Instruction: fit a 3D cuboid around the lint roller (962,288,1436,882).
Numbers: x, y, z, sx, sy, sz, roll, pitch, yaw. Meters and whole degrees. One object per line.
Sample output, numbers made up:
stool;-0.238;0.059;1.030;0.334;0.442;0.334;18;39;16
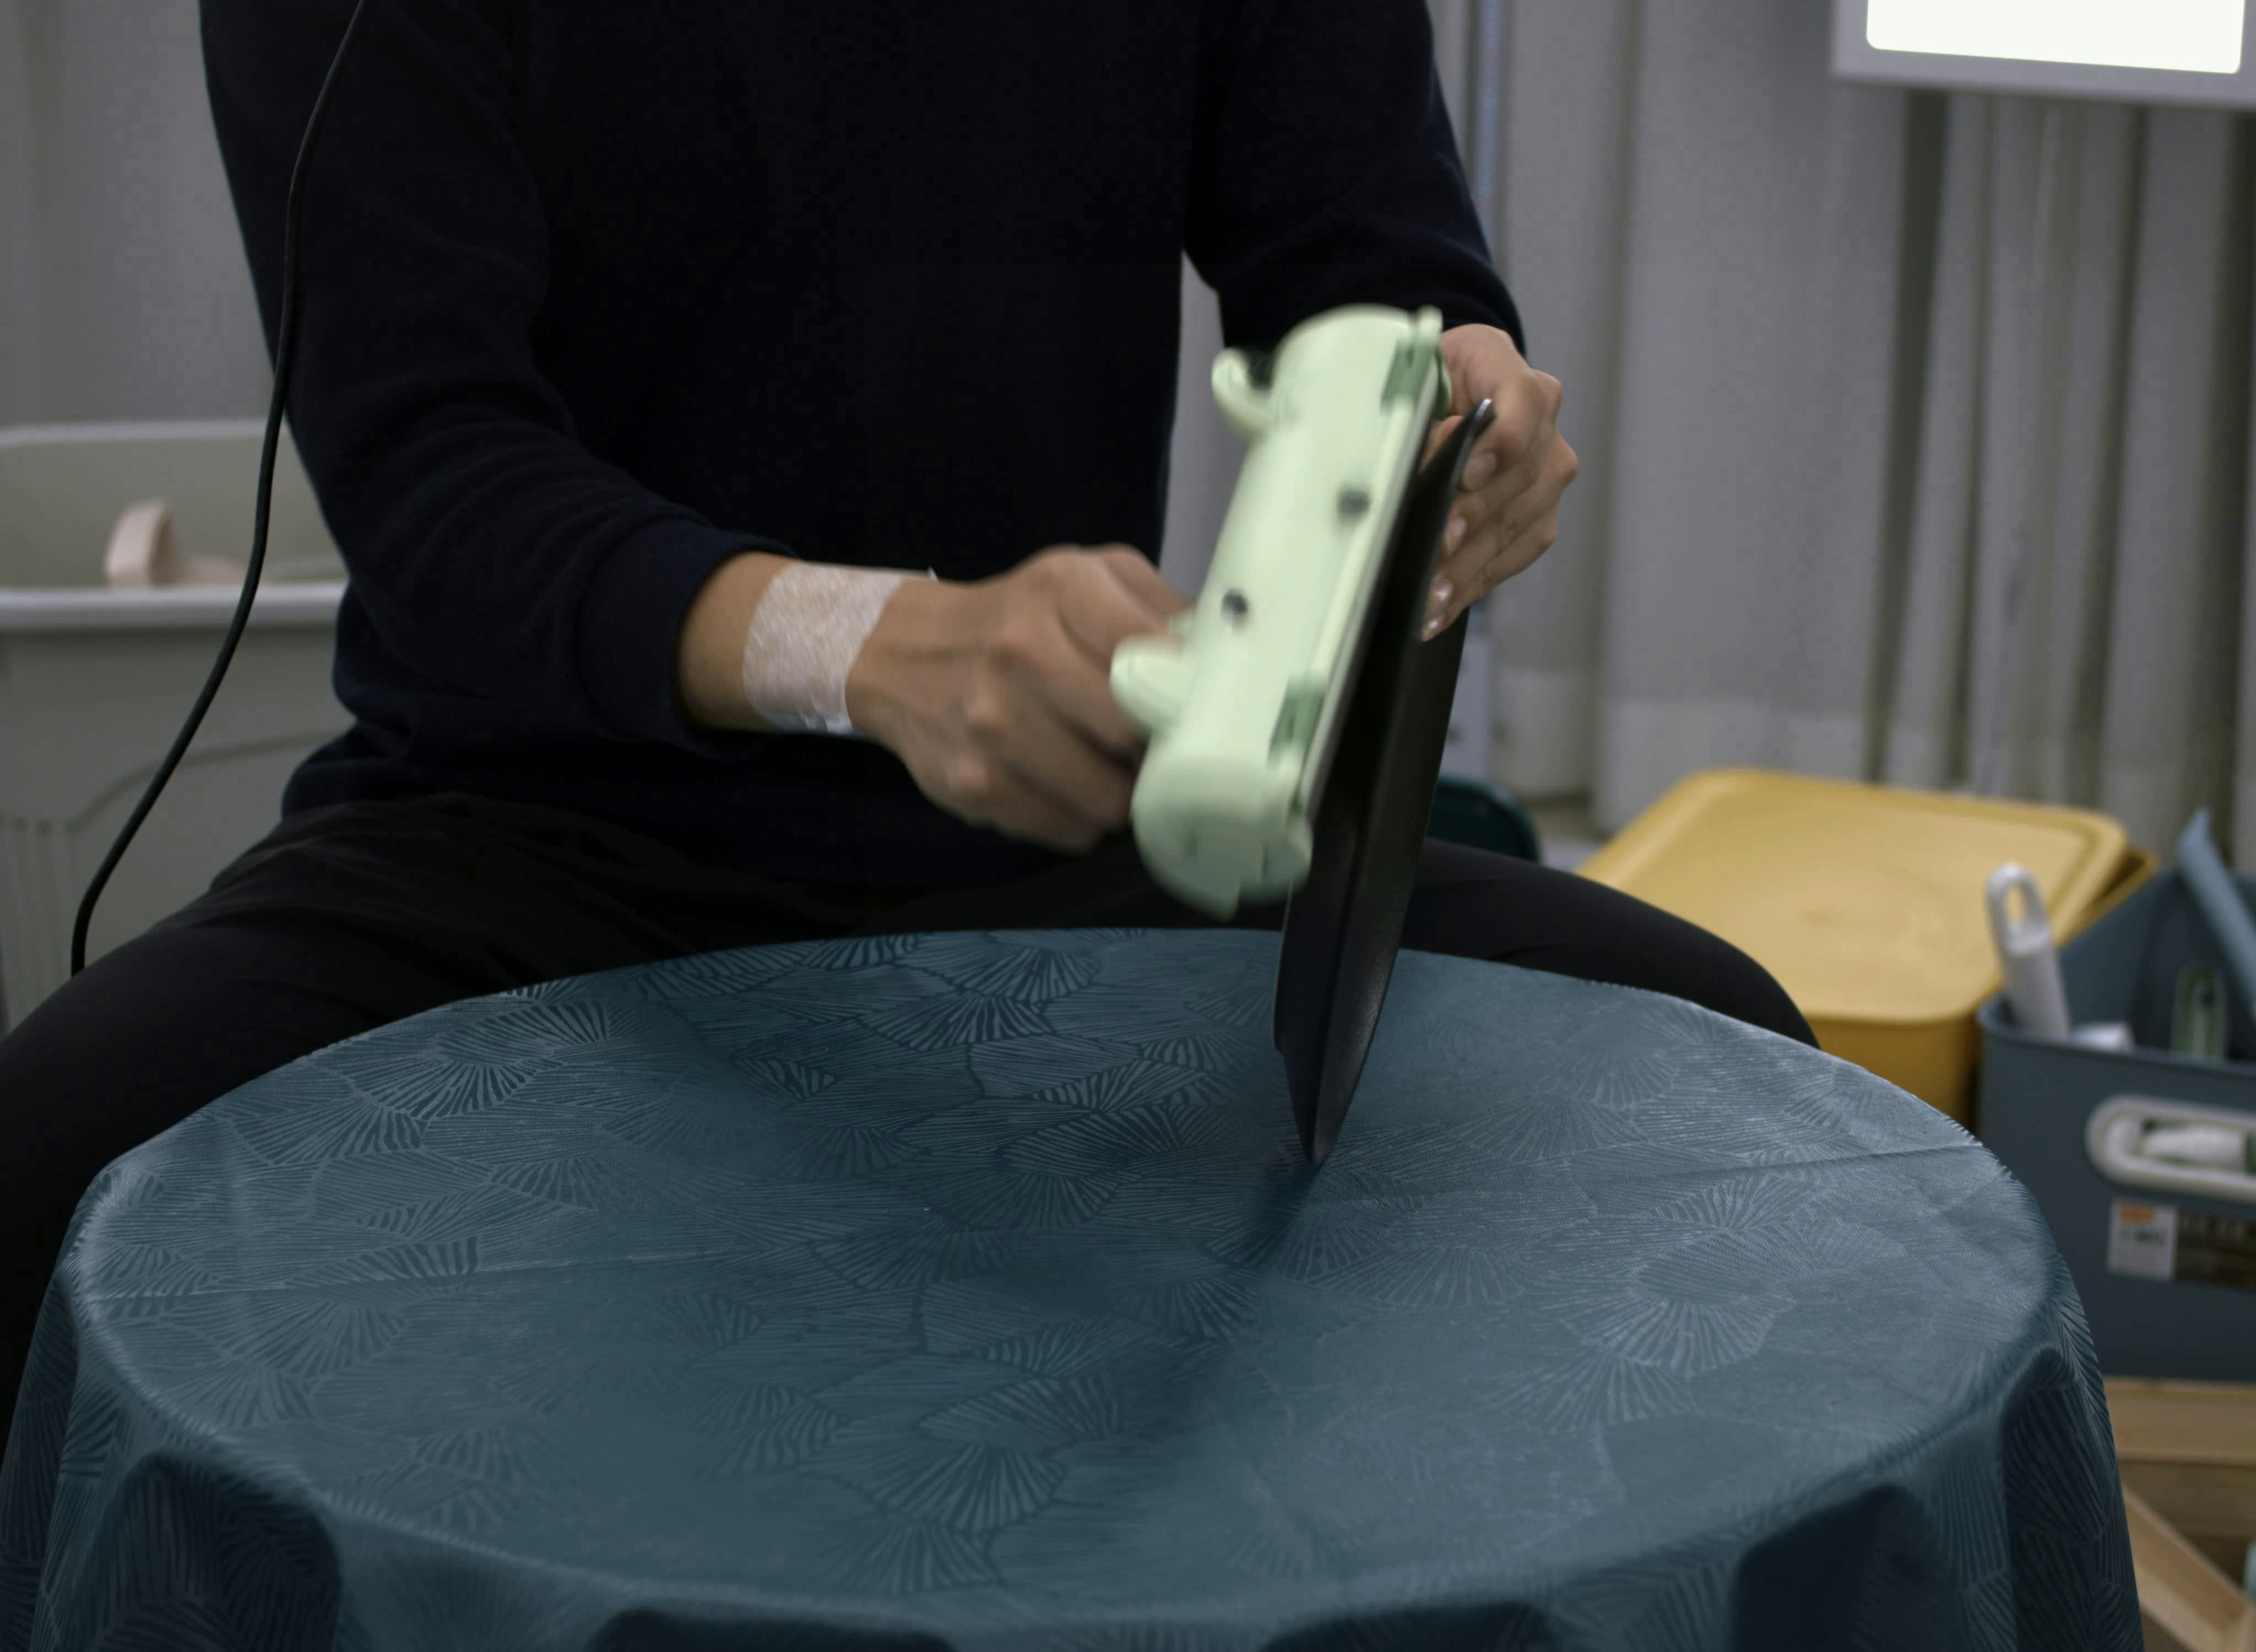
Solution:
lint roller;0.002;-0.065;1.566;0.182;0.083;0.197;-18;40;37

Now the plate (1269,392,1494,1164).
plate;0.076;-0.016;1.629;0.023;0.246;0.244;13;18;7
